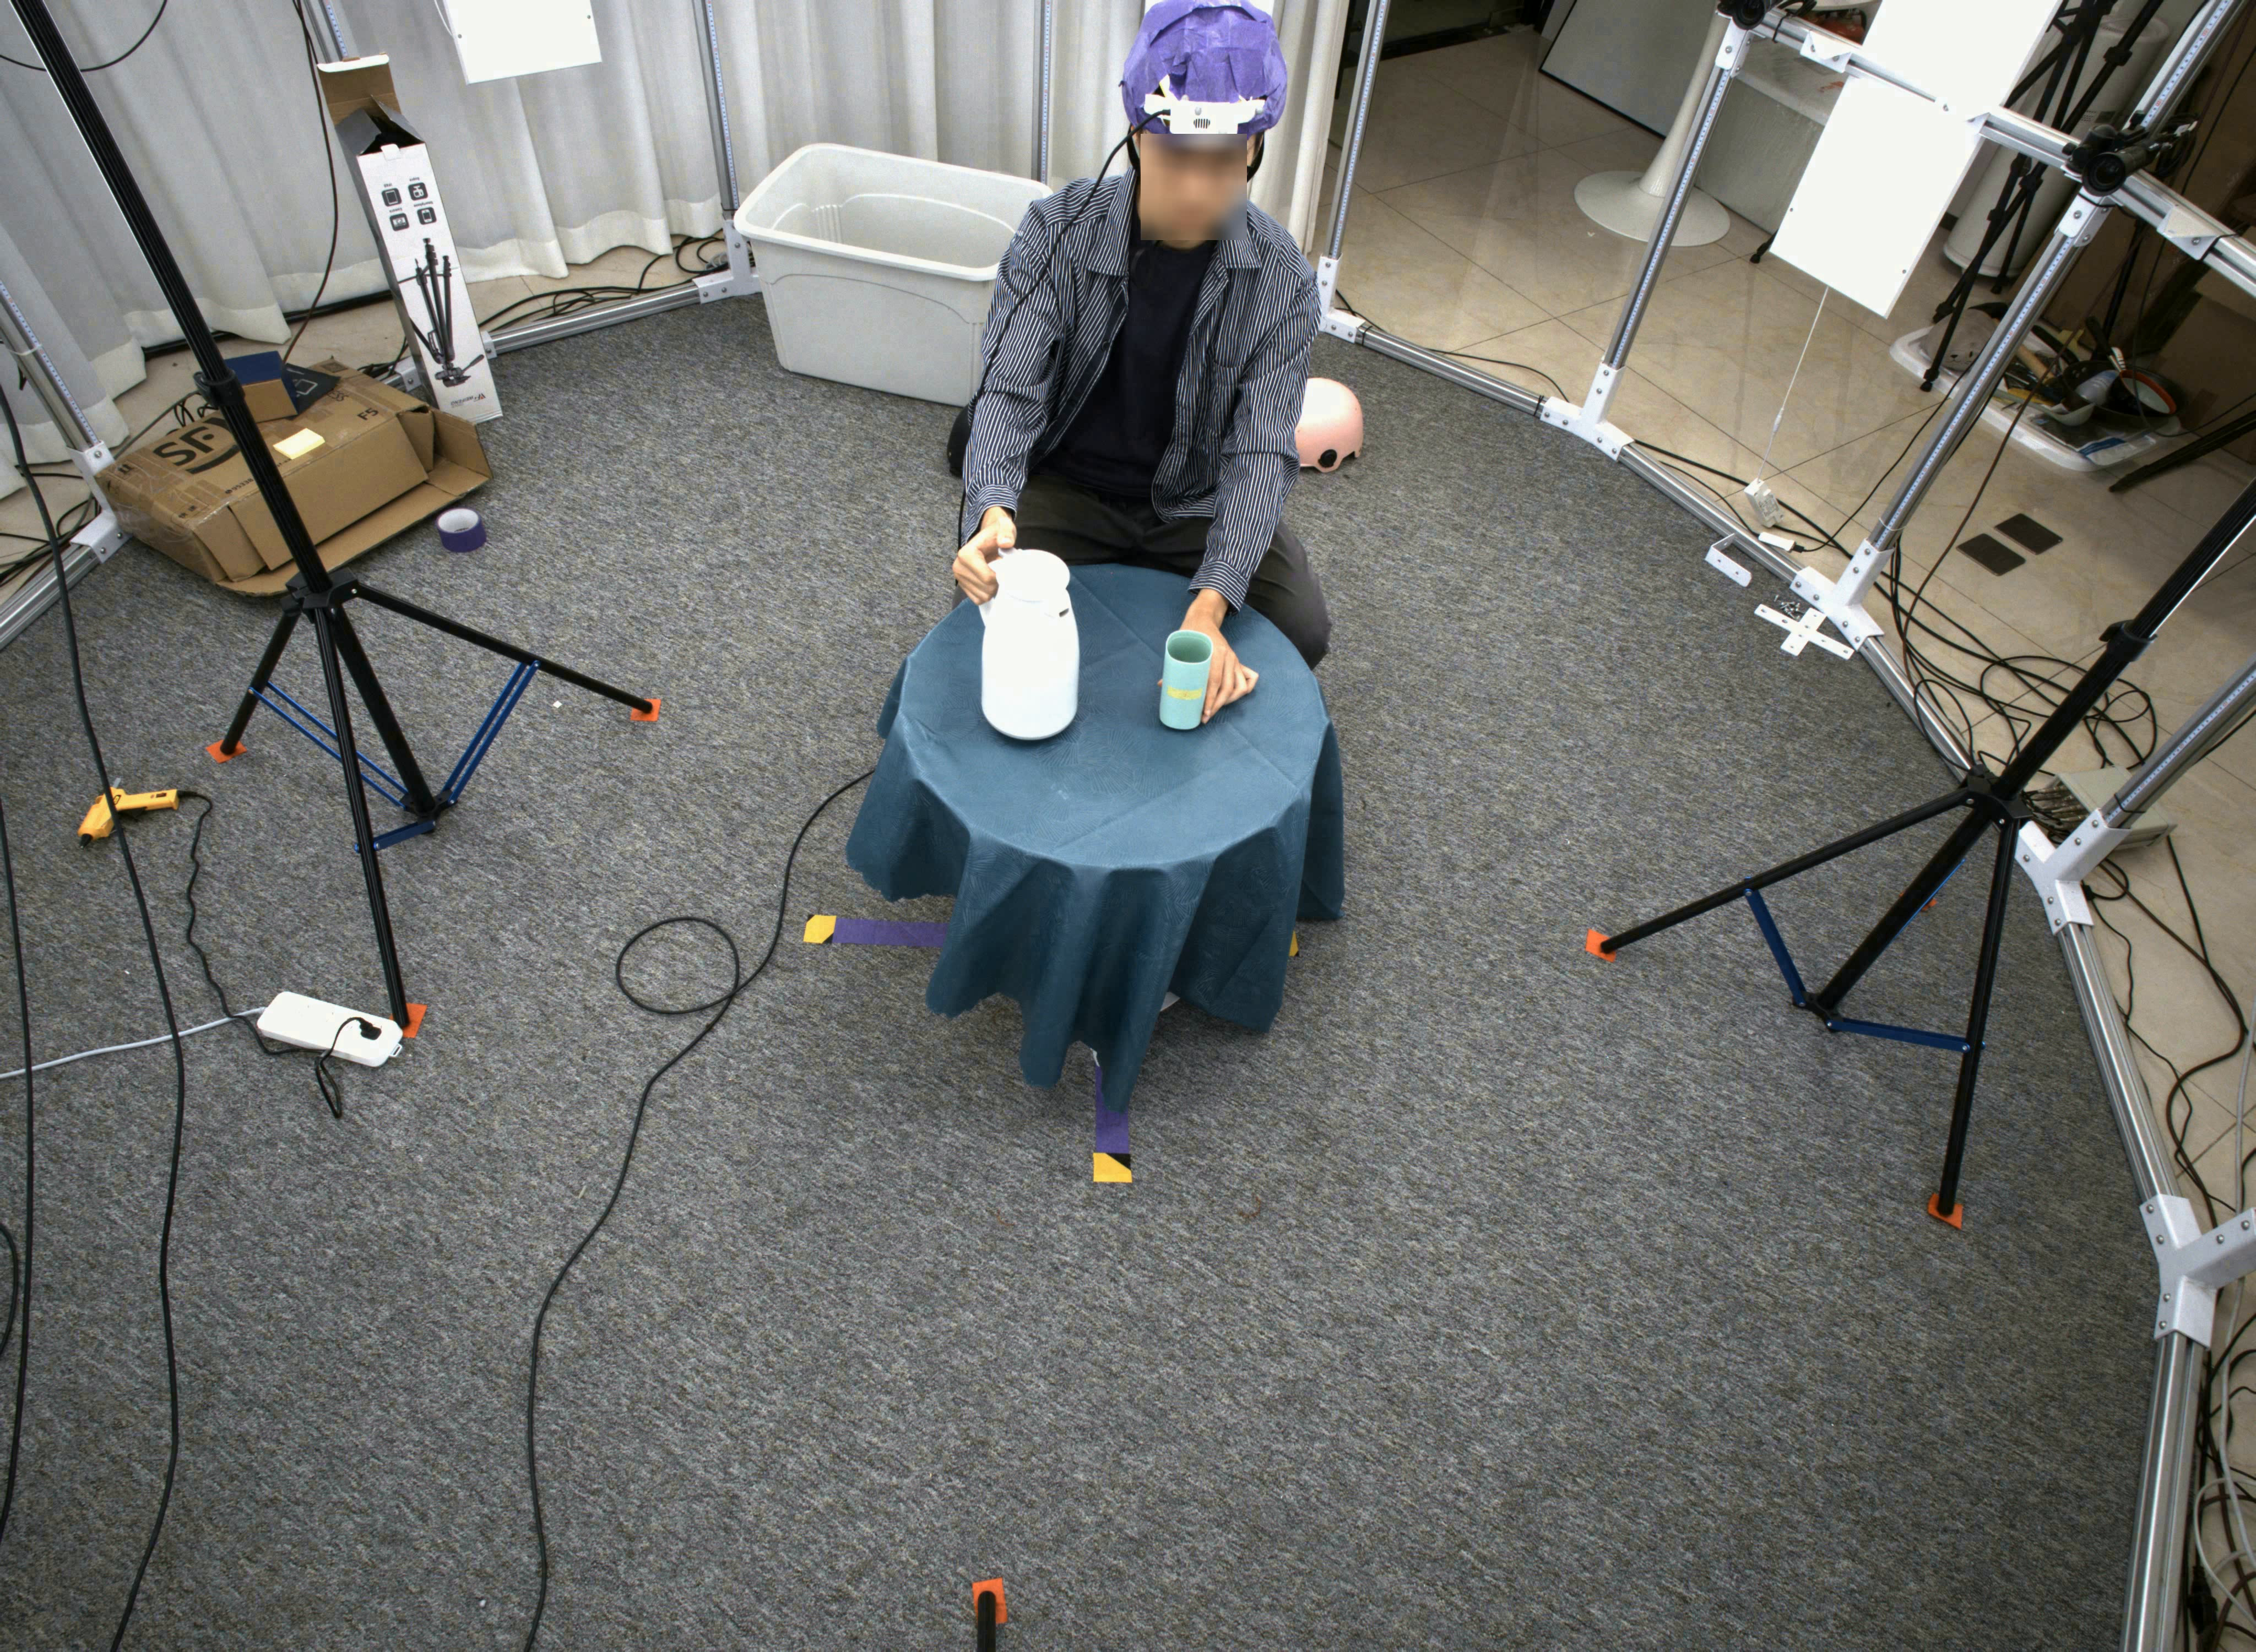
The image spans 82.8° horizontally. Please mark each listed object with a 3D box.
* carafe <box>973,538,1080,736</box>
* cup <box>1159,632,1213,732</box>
[{"bbox_3d":[-0.140,-0.258,1.679,0.170,0.243,0.134,39,58,24],"label":"carafe"},{"bbox_3d":[0.078,-0.196,1.746,0.066,0.129,0.068,2,50,-3],"label":"cup"}]
